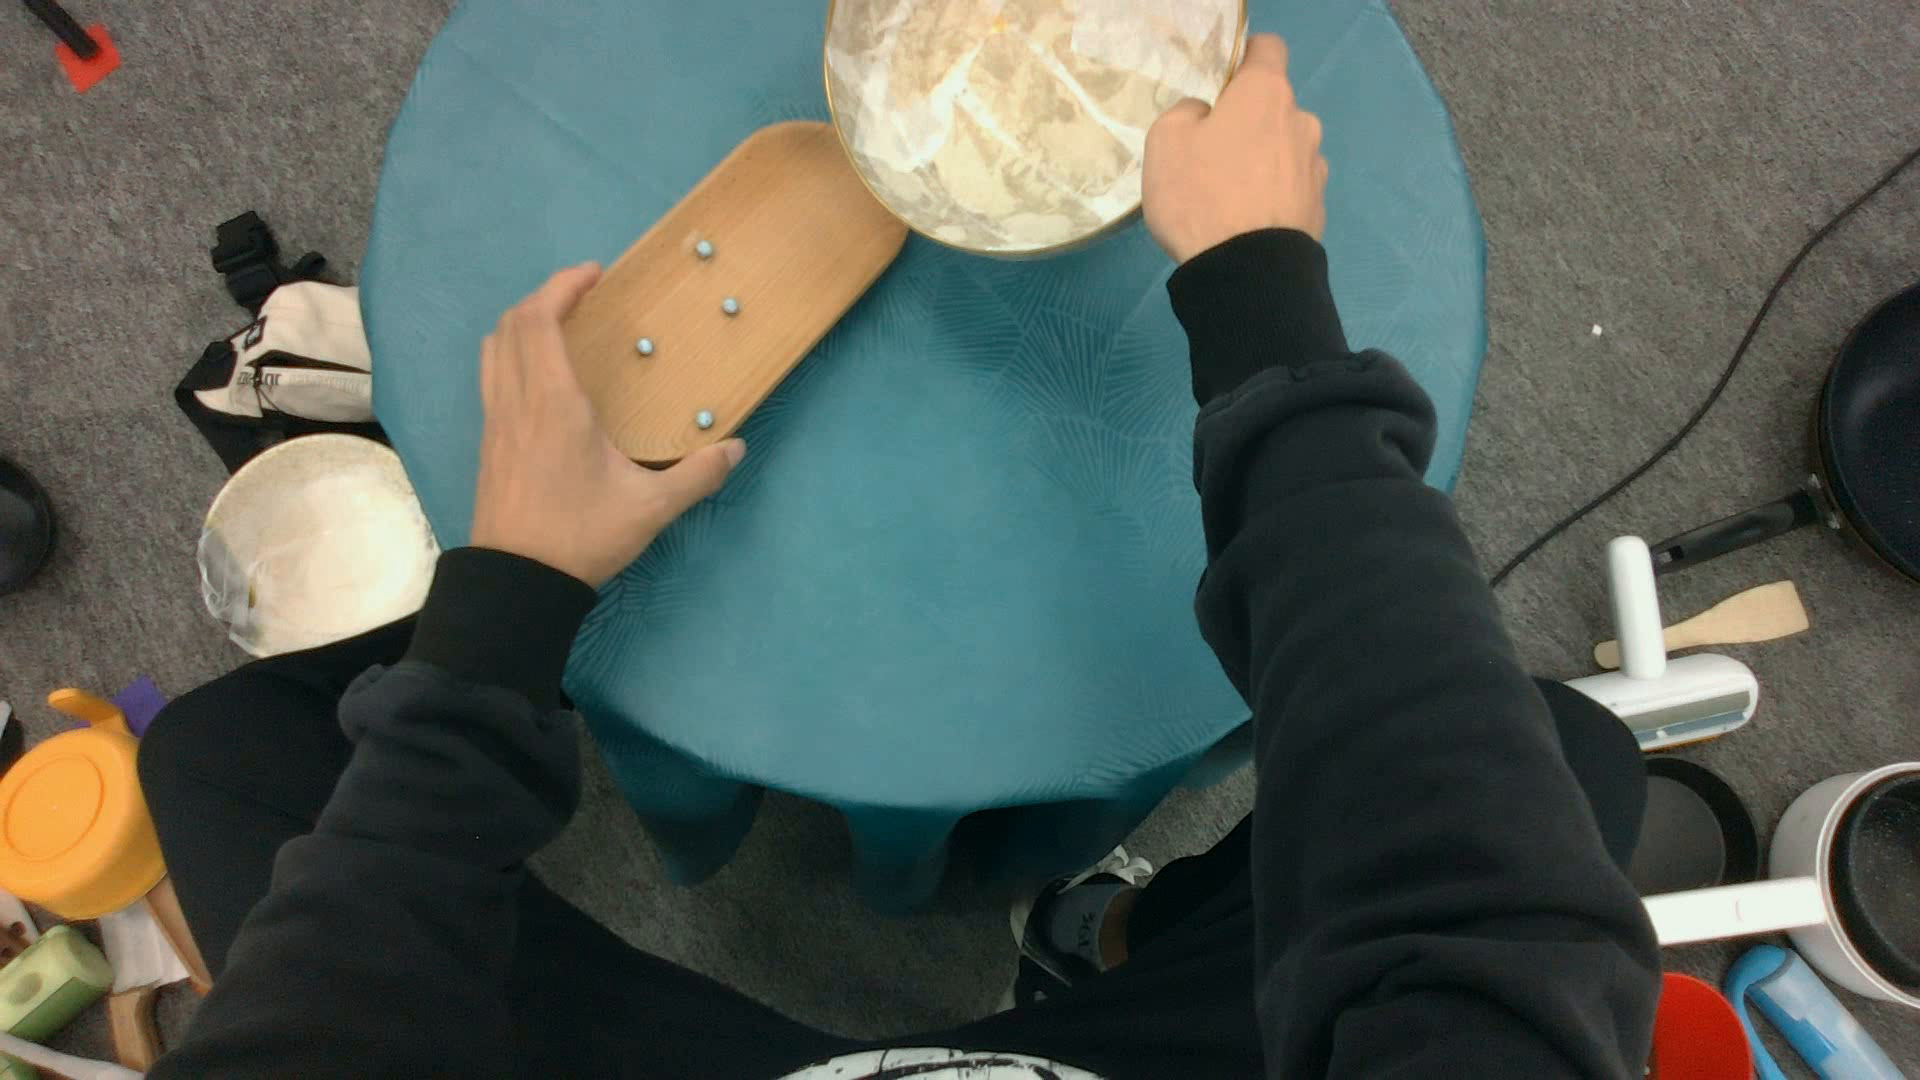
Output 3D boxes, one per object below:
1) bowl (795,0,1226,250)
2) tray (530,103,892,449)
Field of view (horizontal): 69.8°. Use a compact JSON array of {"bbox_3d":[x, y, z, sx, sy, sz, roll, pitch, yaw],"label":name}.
[{"bbox_3d":[0.031,-0.239,0.664,0.214,0.095,0.214,2,96,21],"label":"bowl"},{"bbox_3d":[-0.121,-0.138,0.699,0.101,0.020,0.232,36,64,2],"label":"tray"}]
